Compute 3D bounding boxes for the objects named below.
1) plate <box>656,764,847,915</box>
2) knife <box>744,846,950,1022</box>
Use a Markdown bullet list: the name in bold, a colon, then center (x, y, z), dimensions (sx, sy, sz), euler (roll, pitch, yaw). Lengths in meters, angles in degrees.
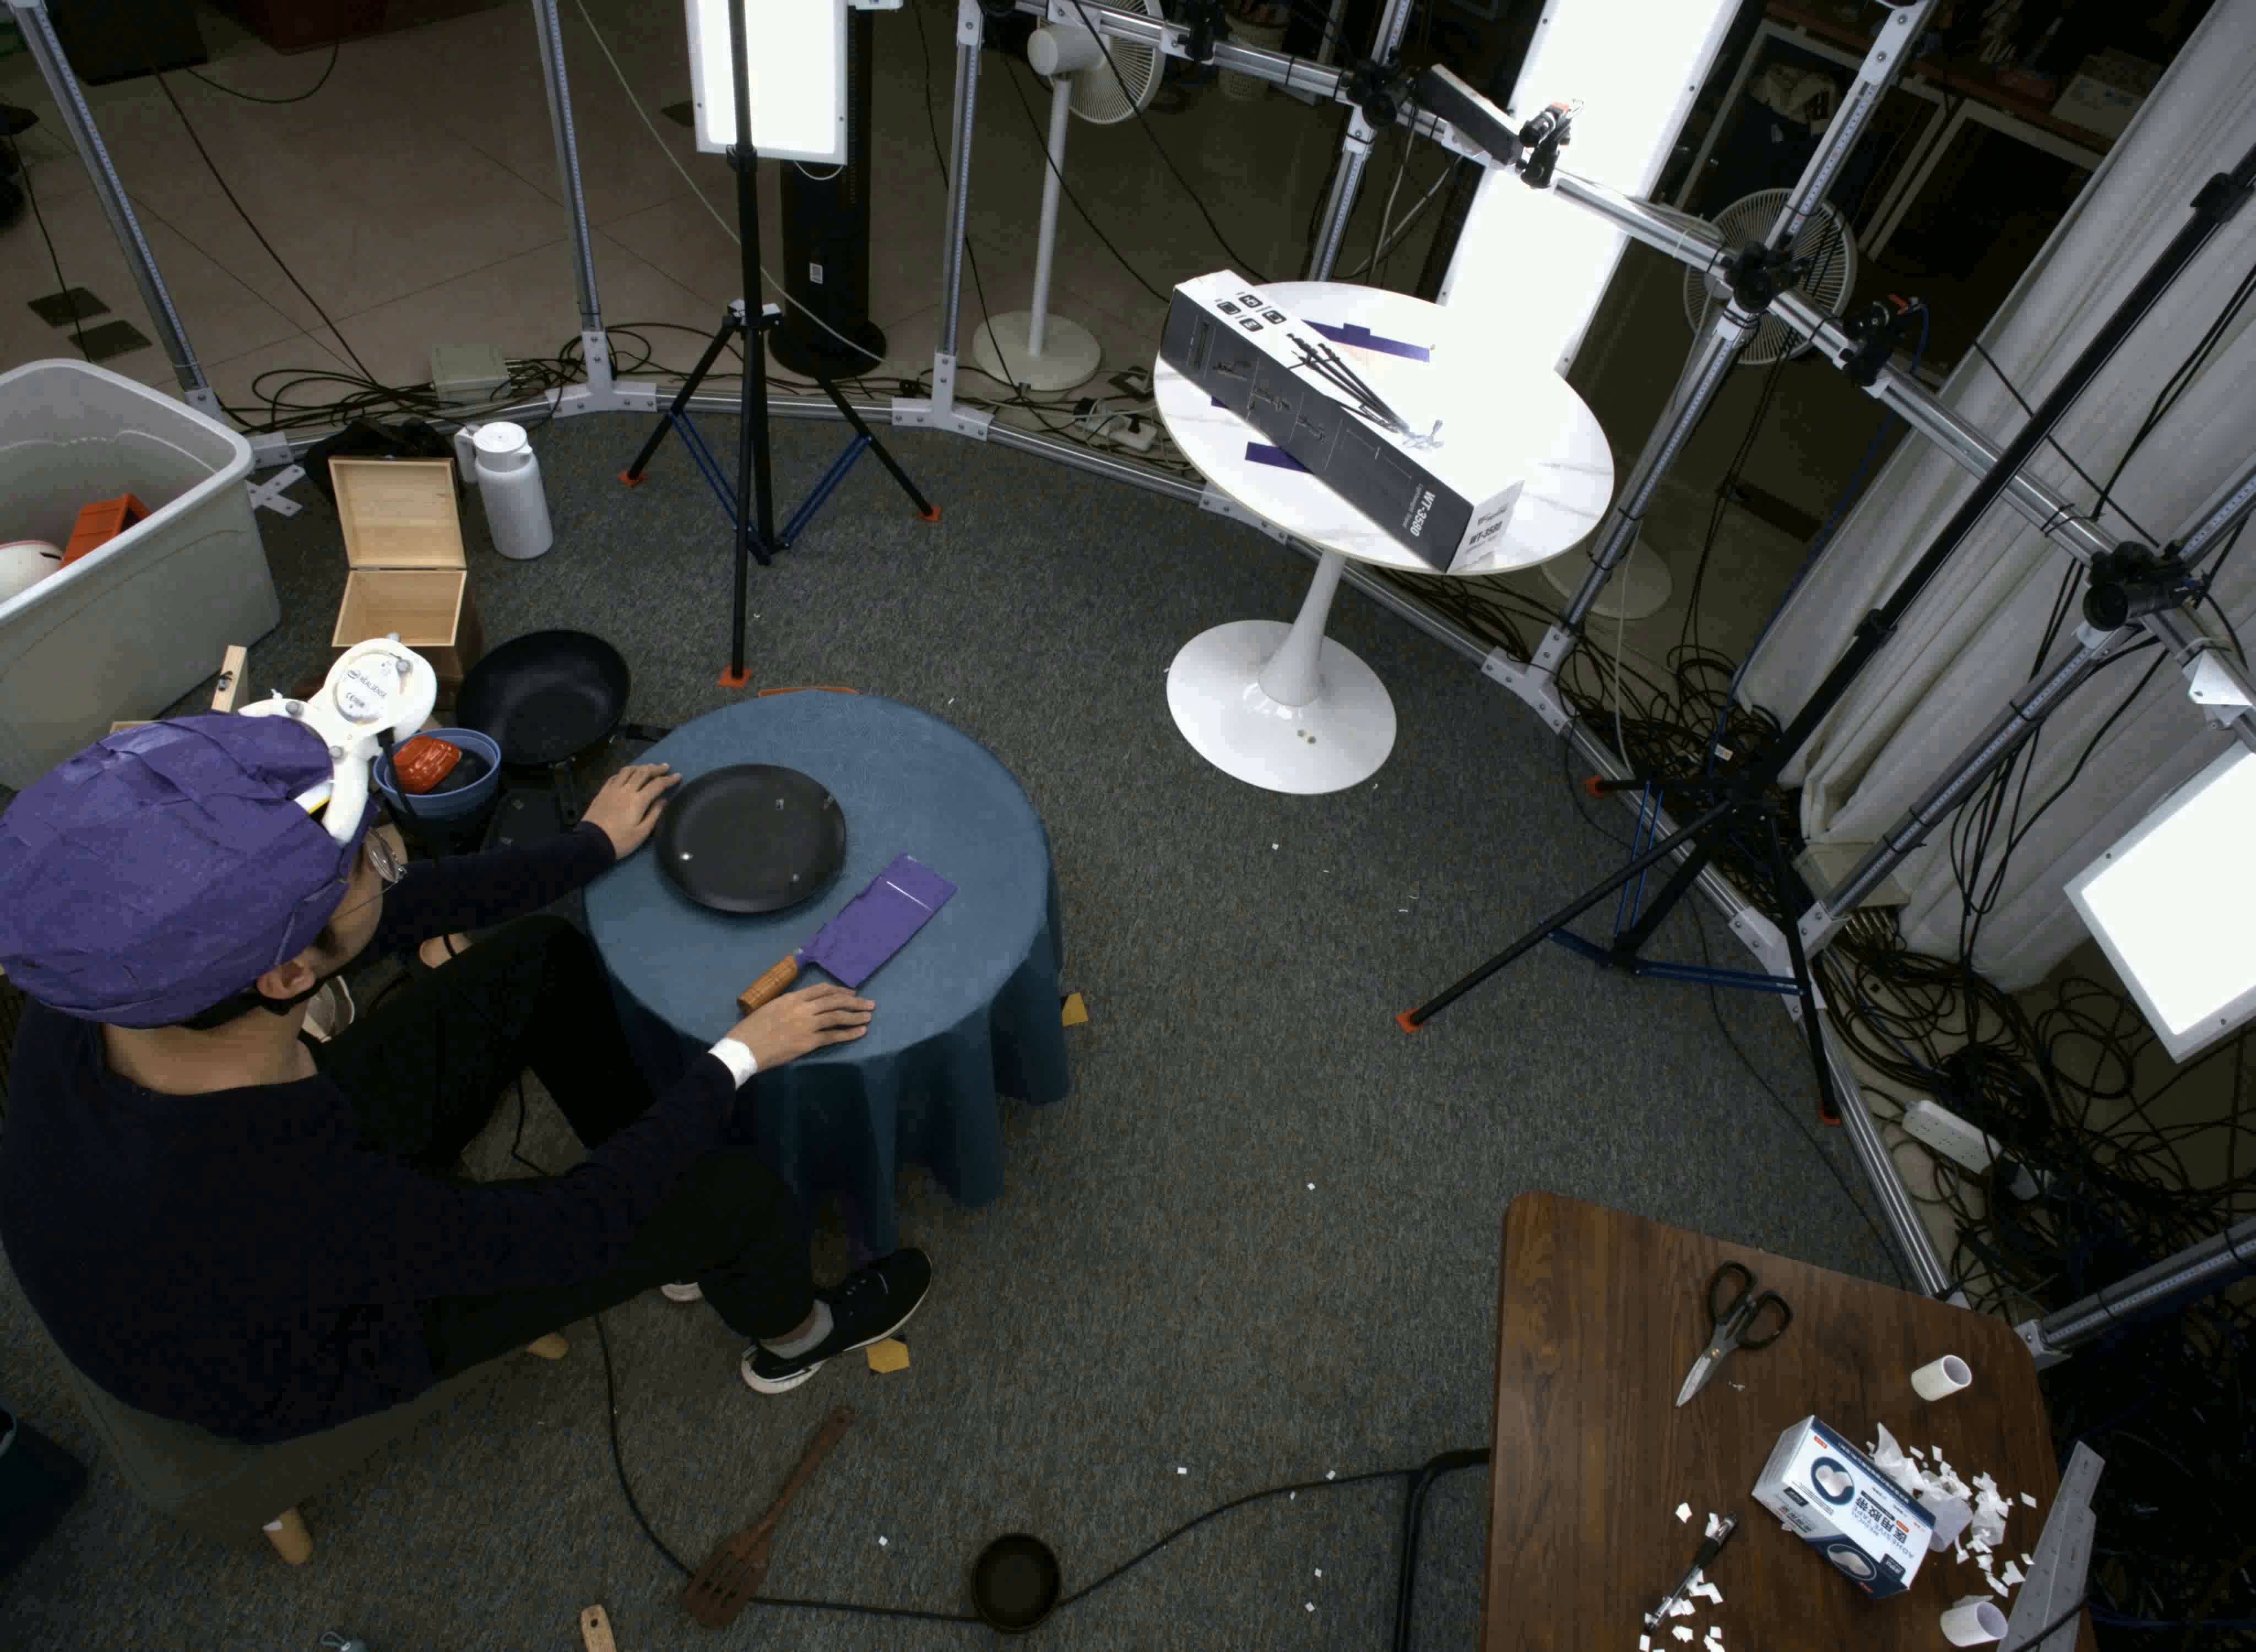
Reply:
- **plate**: center (-0.490, 0.018, 1.690), dimensions (0.244, 0.024, 0.240), euler (8, 53, -9)
- **knife**: center (-0.344, 0.142, 1.633), dimensions (0.102, 0.033, 0.314), euler (32, 53, 11)
